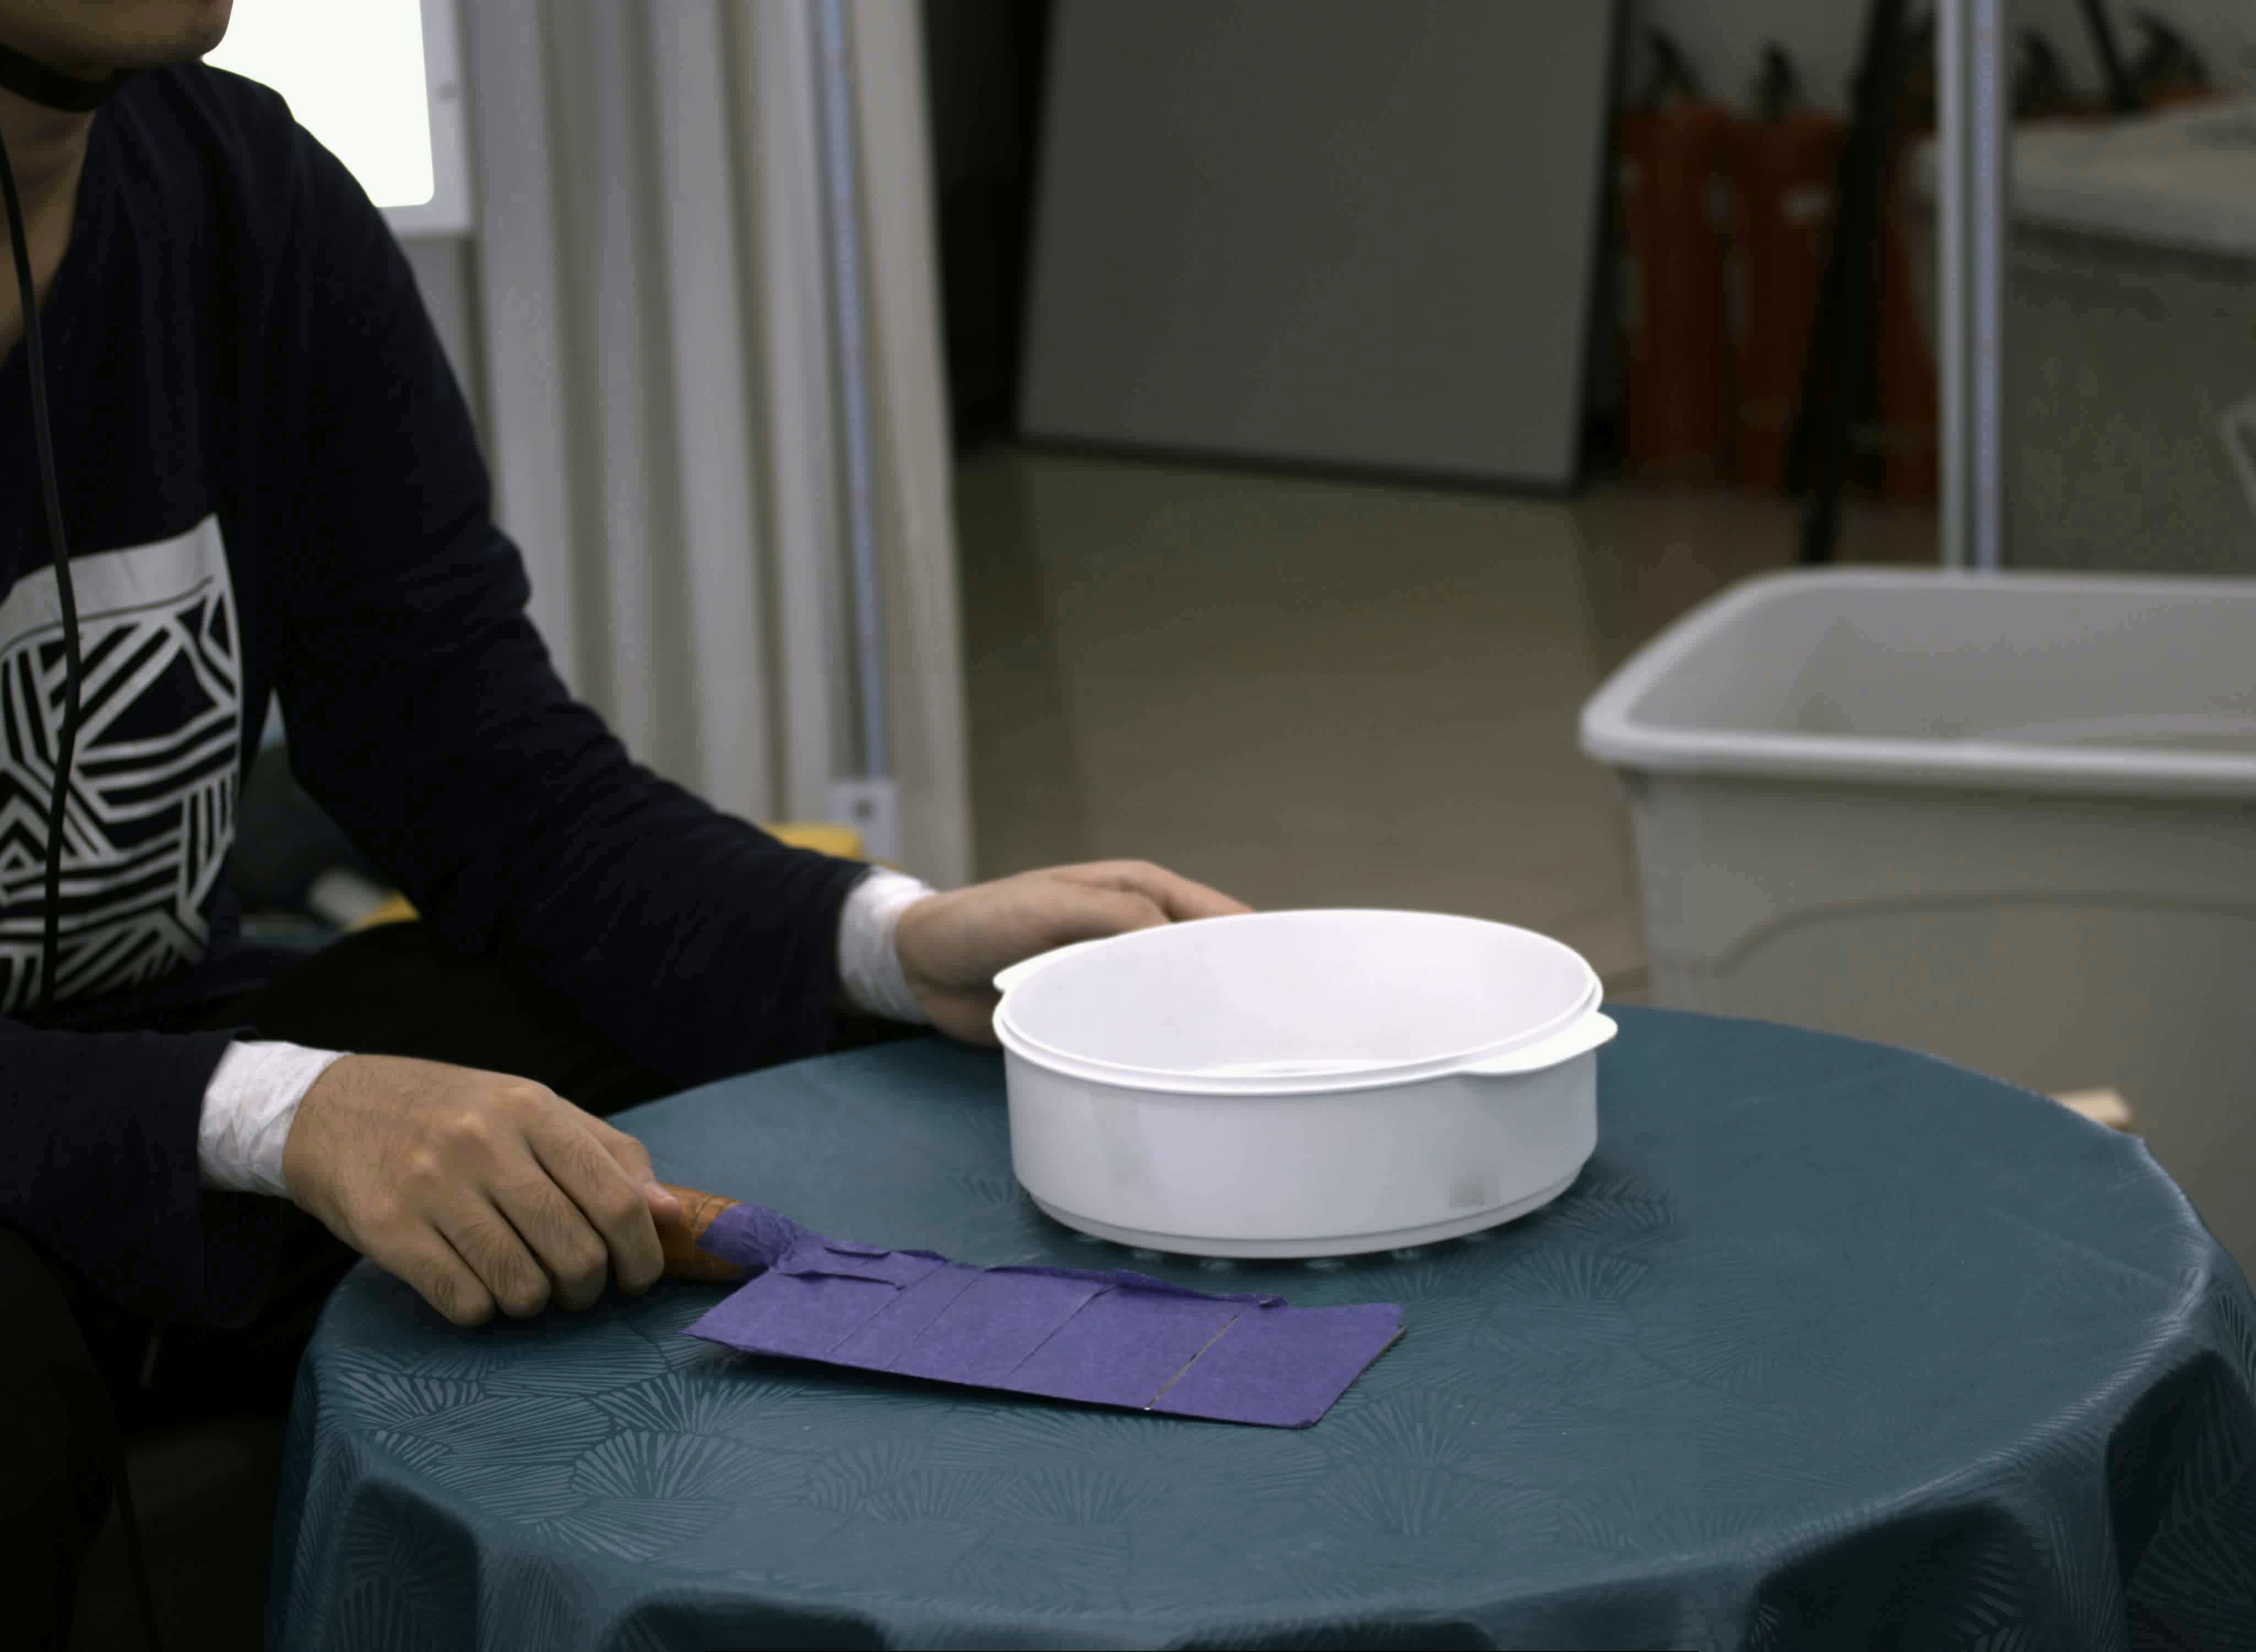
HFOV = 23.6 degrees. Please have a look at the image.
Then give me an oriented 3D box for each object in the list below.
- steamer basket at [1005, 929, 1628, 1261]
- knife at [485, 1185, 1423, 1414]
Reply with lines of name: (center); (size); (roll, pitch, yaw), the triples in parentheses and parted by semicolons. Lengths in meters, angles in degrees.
steamer basket: (0.061, 0.088, 1.759); (0.232, 0.070, 0.198); (4, 14, 41)
knife: (-0.070, 0.144, 1.646); (0.315, 0.032, 0.102); (3, 15, 25)
